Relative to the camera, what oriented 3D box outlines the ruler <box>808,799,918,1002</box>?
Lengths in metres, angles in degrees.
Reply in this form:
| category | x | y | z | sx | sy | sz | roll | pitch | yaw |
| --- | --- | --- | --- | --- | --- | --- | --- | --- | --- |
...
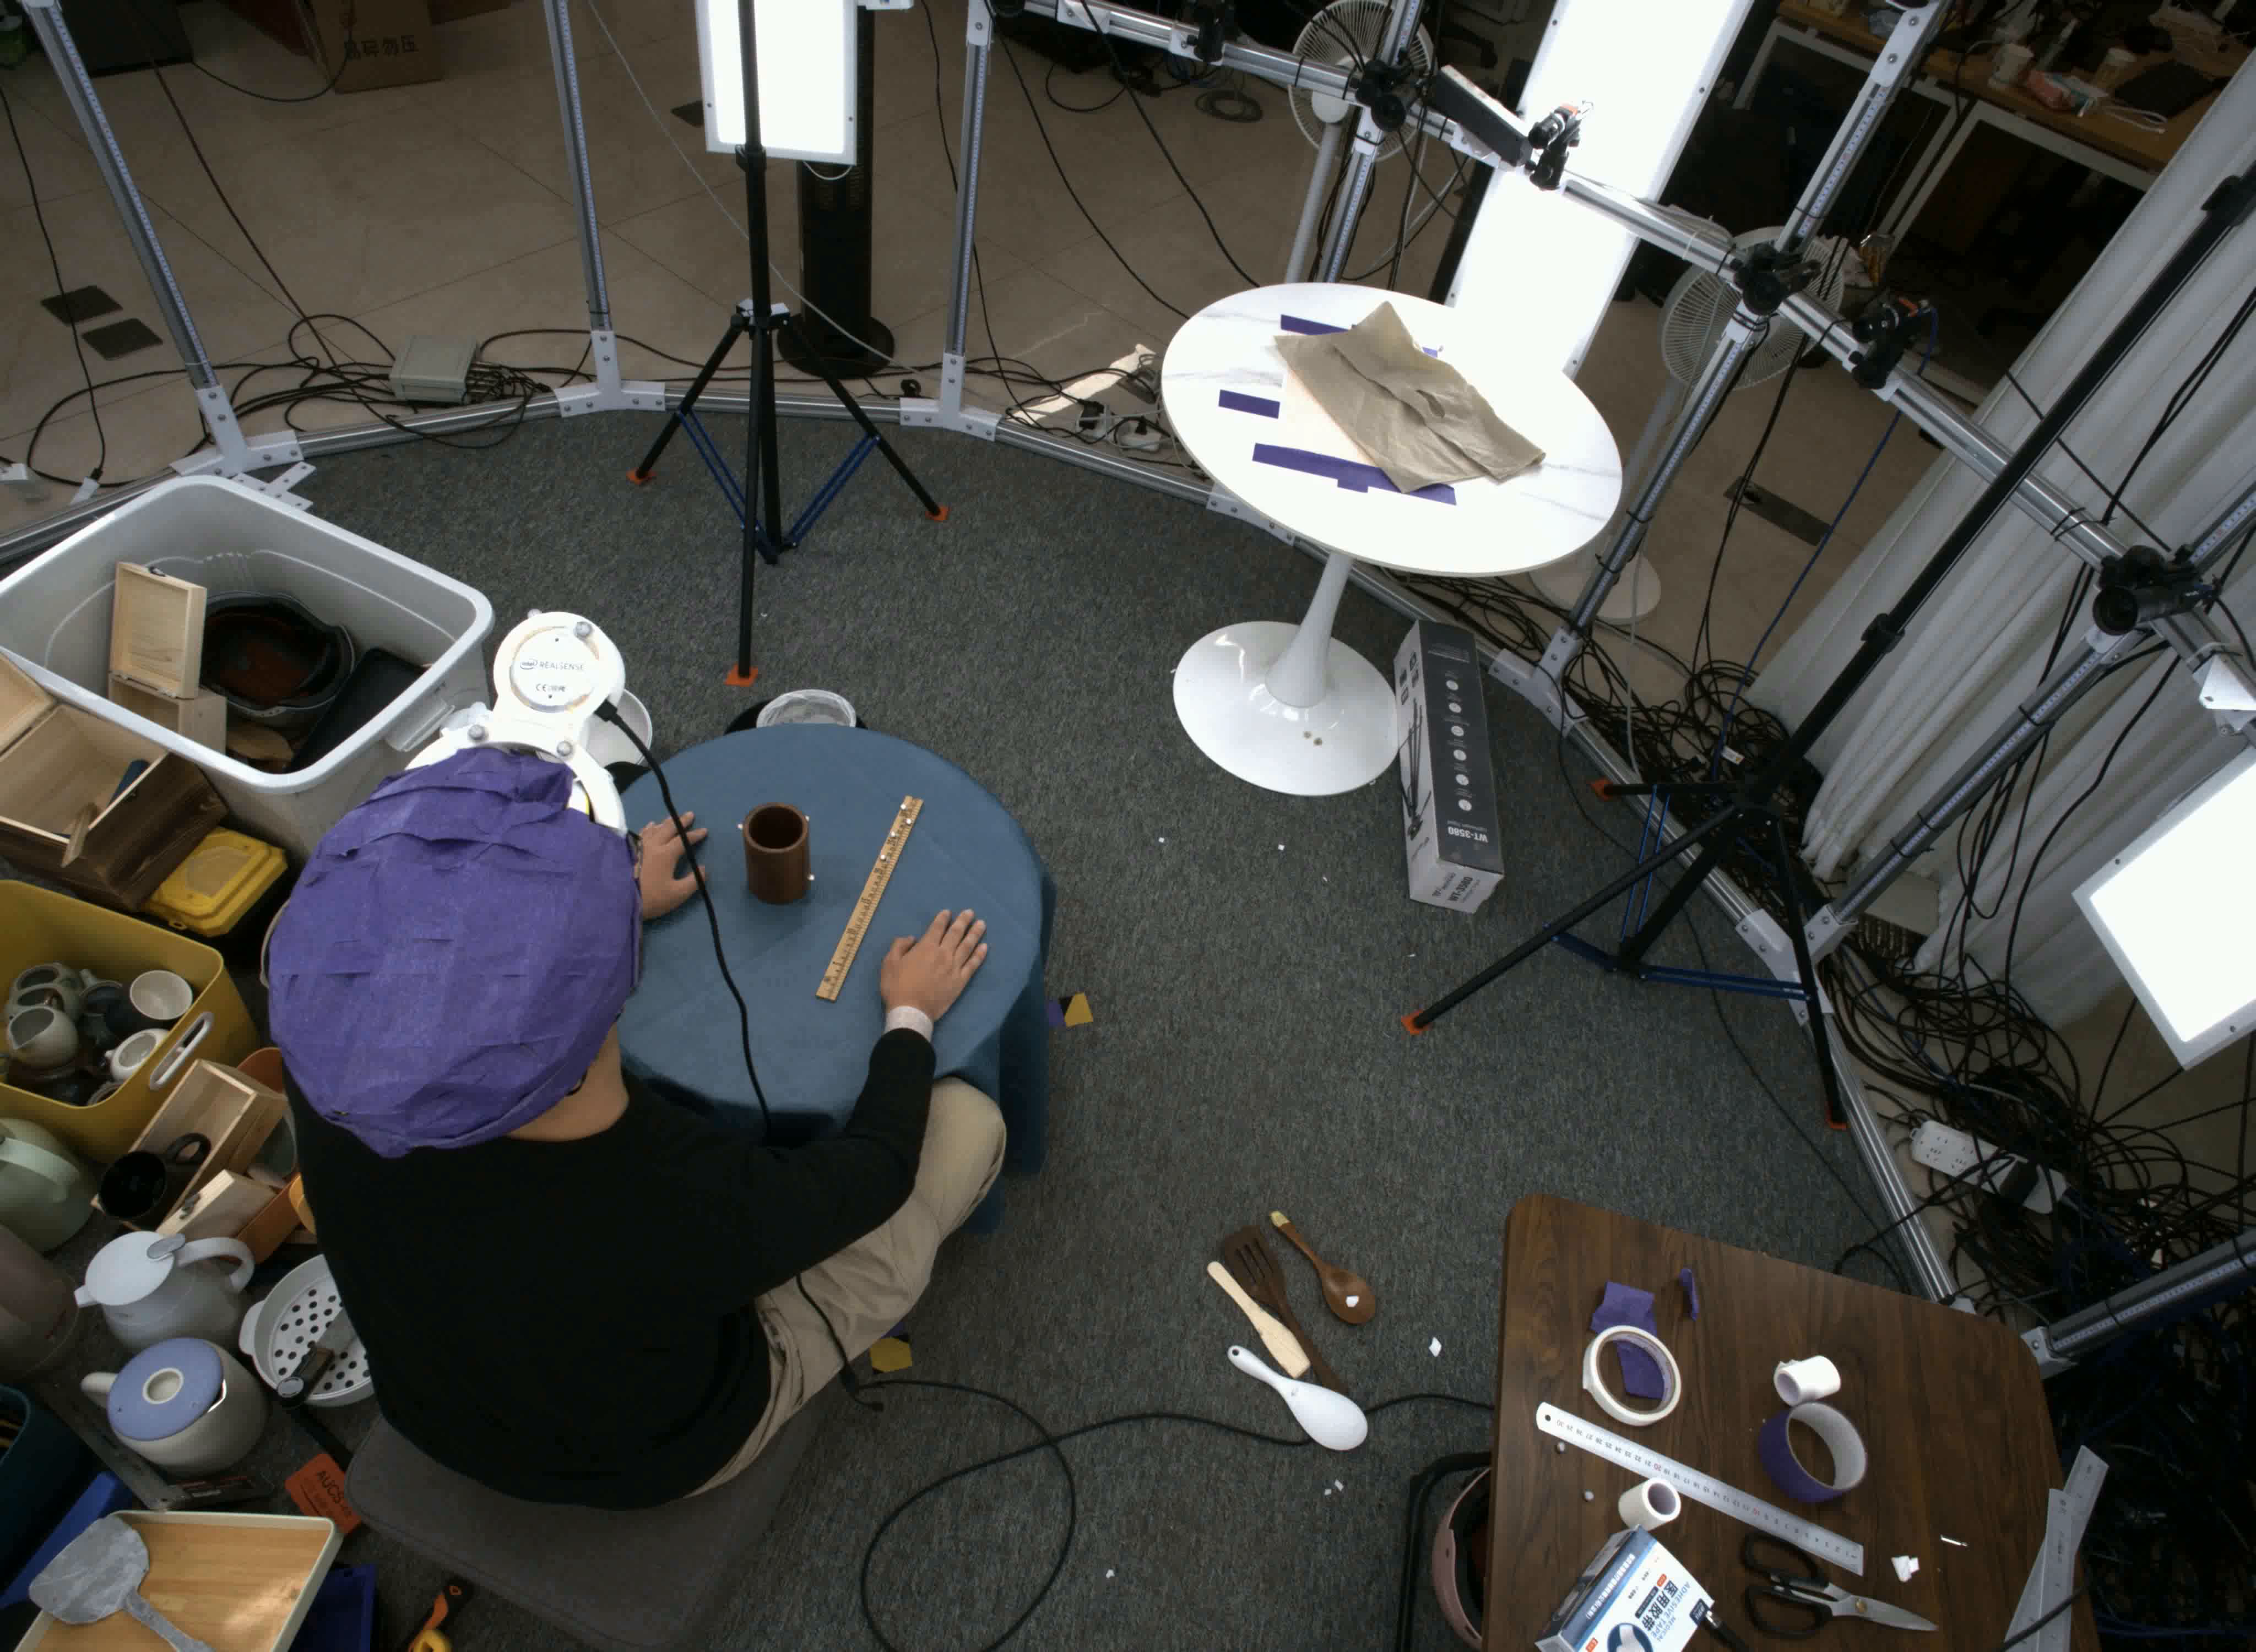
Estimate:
| category | x | y | z | sx | sy | sz | roll | pitch | yaw |
| --- | --- | --- | --- | --- | --- | --- | --- | --- | --- |
| ruler | -0.337 | 0.084 | 1.672 | 0.027 | 0.023 | 0.328 | 15 | 51 | 4 |

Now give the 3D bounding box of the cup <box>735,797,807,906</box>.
| category | x | y | z | sx | sy | sz | roll | pitch | yaw |
| --- | --- | --- | --- | --- | --- | --- | --- | --- | --- |
| cup | -0.443 | 0.031 | 1.615 | 0.087 | 0.121 | 0.086 | 6 | 52 | -6 |
